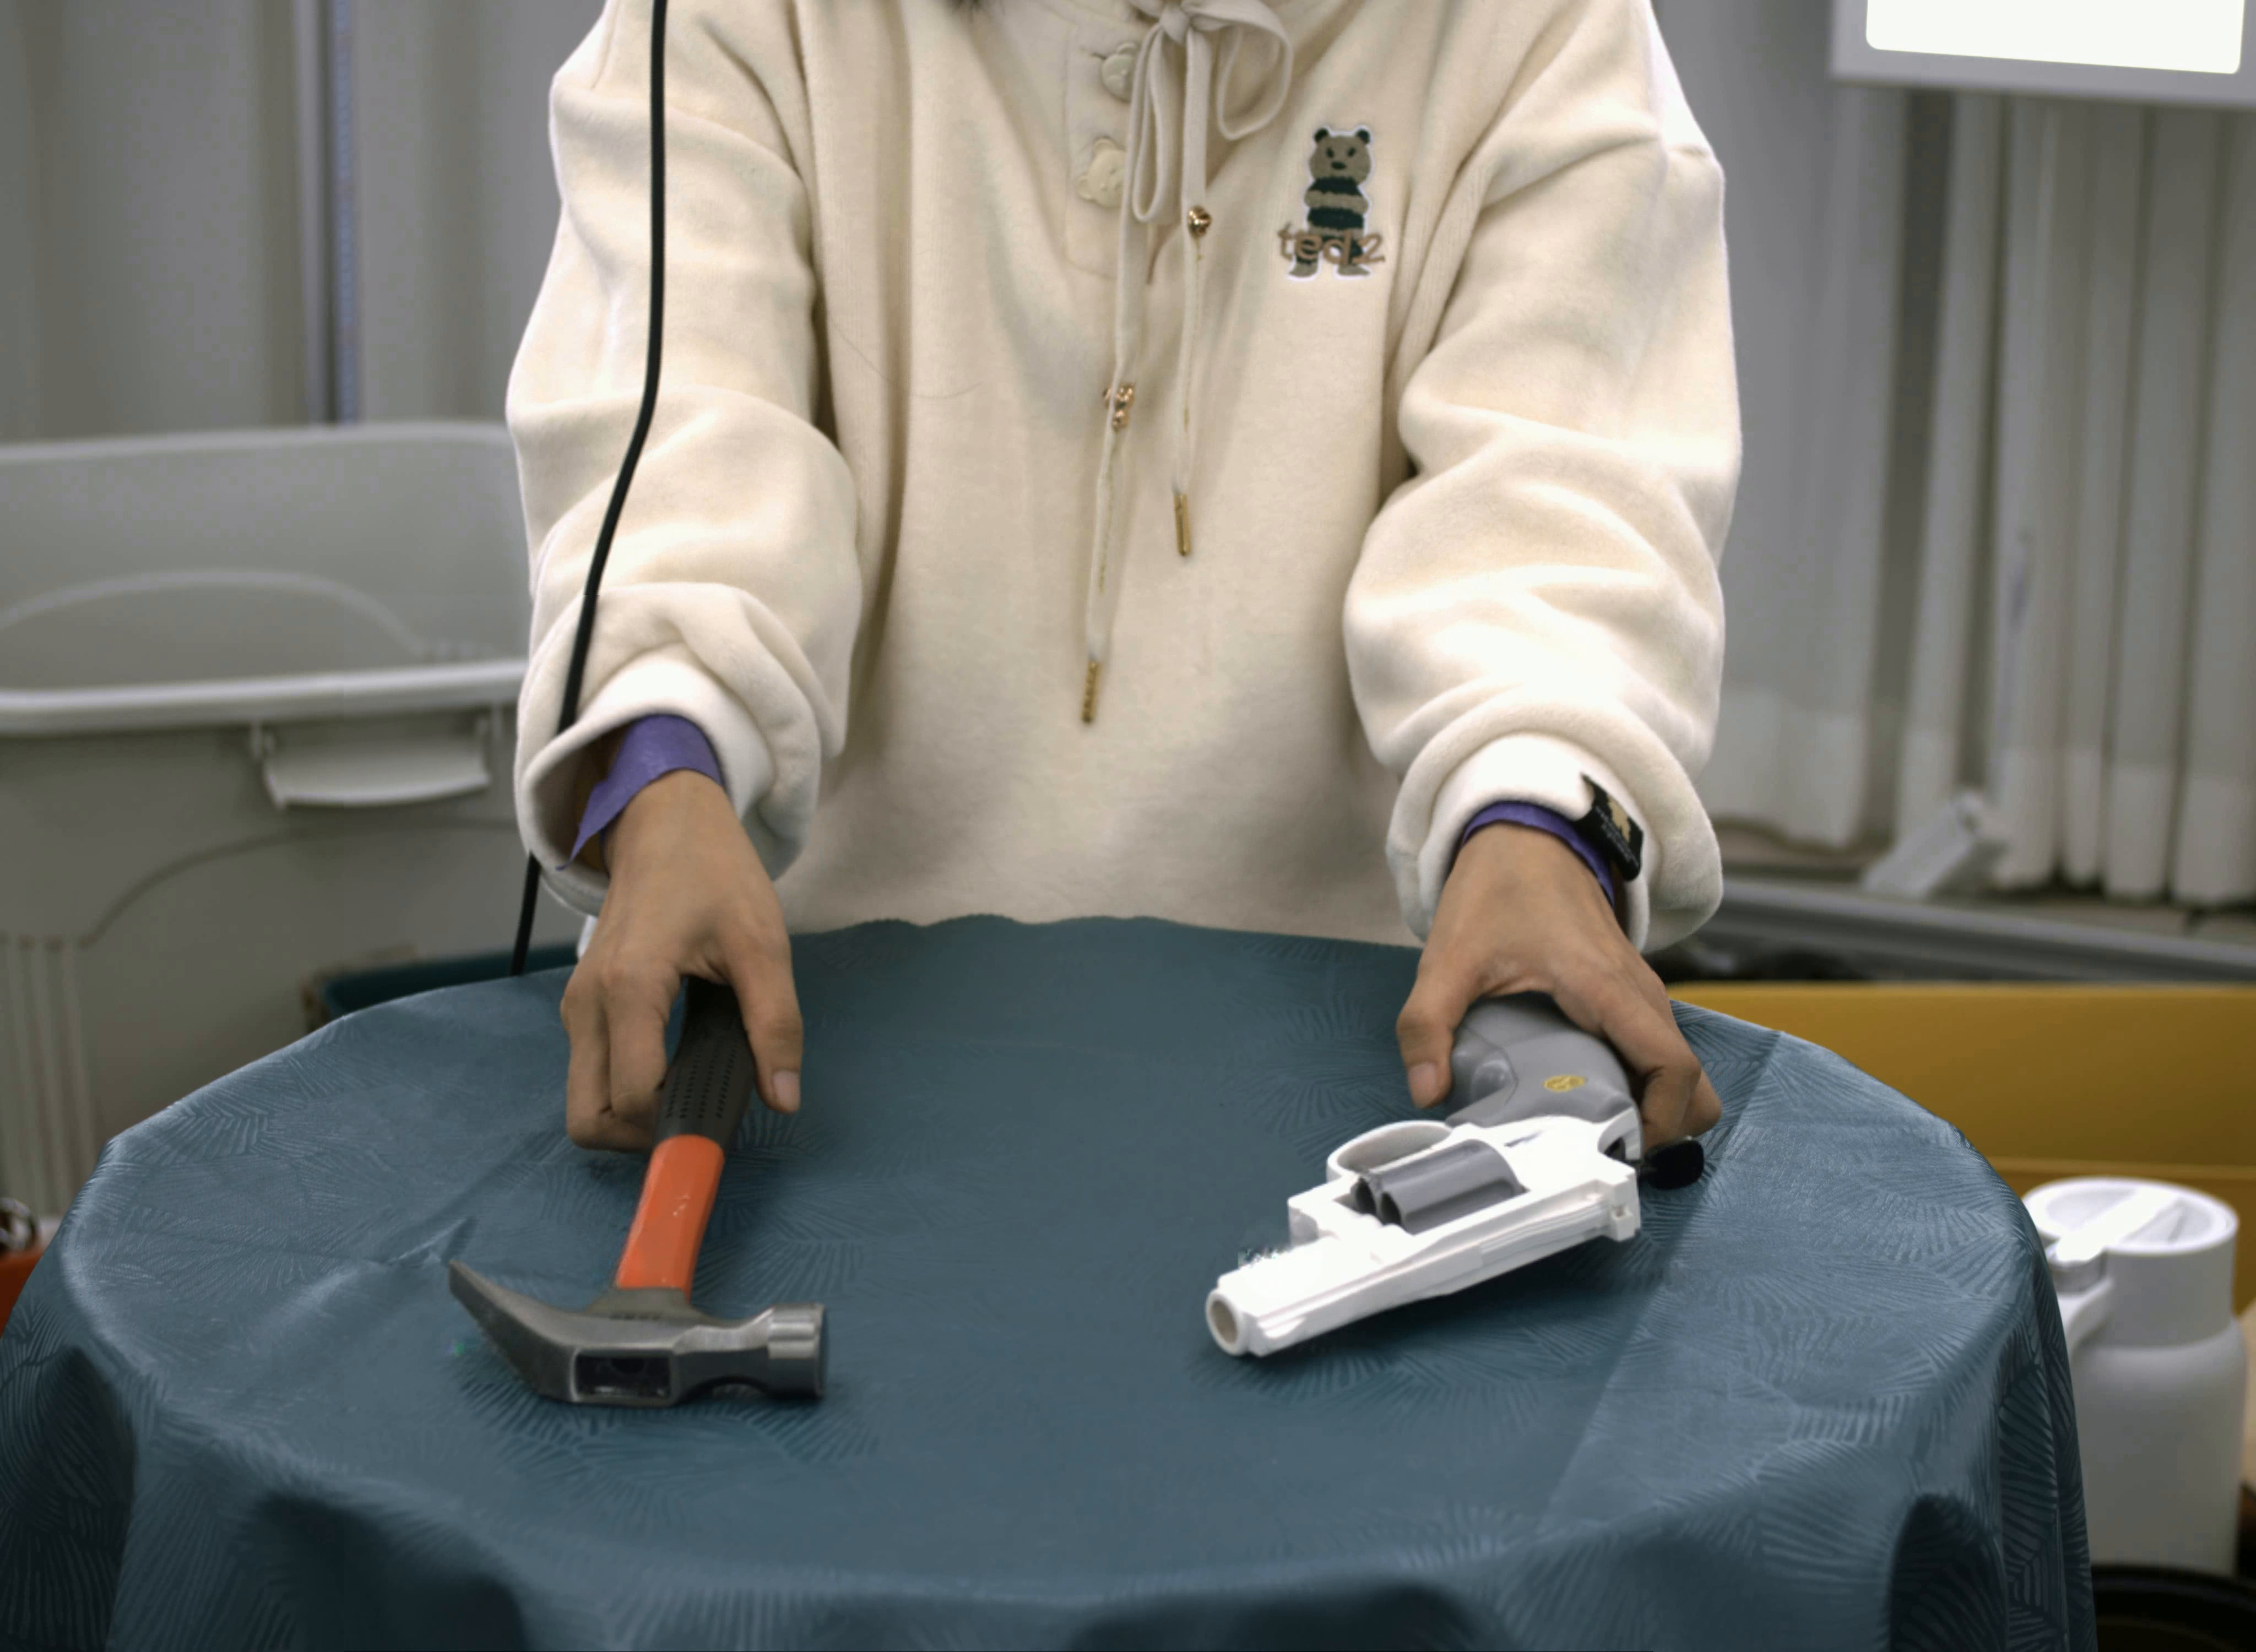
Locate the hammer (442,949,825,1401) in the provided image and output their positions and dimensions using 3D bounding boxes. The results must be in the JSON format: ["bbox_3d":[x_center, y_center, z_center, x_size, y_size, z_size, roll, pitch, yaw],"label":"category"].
[{"bbox_3d":[-0.133,0.099,1.568,0.110,0.026,0.276,-9,20,7],"label":"hammer"}]

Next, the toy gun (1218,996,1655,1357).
[{"bbox_3d":[0.086,0.104,1.571,0.210,0.039,0.140,-17,23,-34],"label":"toy gun"}]
